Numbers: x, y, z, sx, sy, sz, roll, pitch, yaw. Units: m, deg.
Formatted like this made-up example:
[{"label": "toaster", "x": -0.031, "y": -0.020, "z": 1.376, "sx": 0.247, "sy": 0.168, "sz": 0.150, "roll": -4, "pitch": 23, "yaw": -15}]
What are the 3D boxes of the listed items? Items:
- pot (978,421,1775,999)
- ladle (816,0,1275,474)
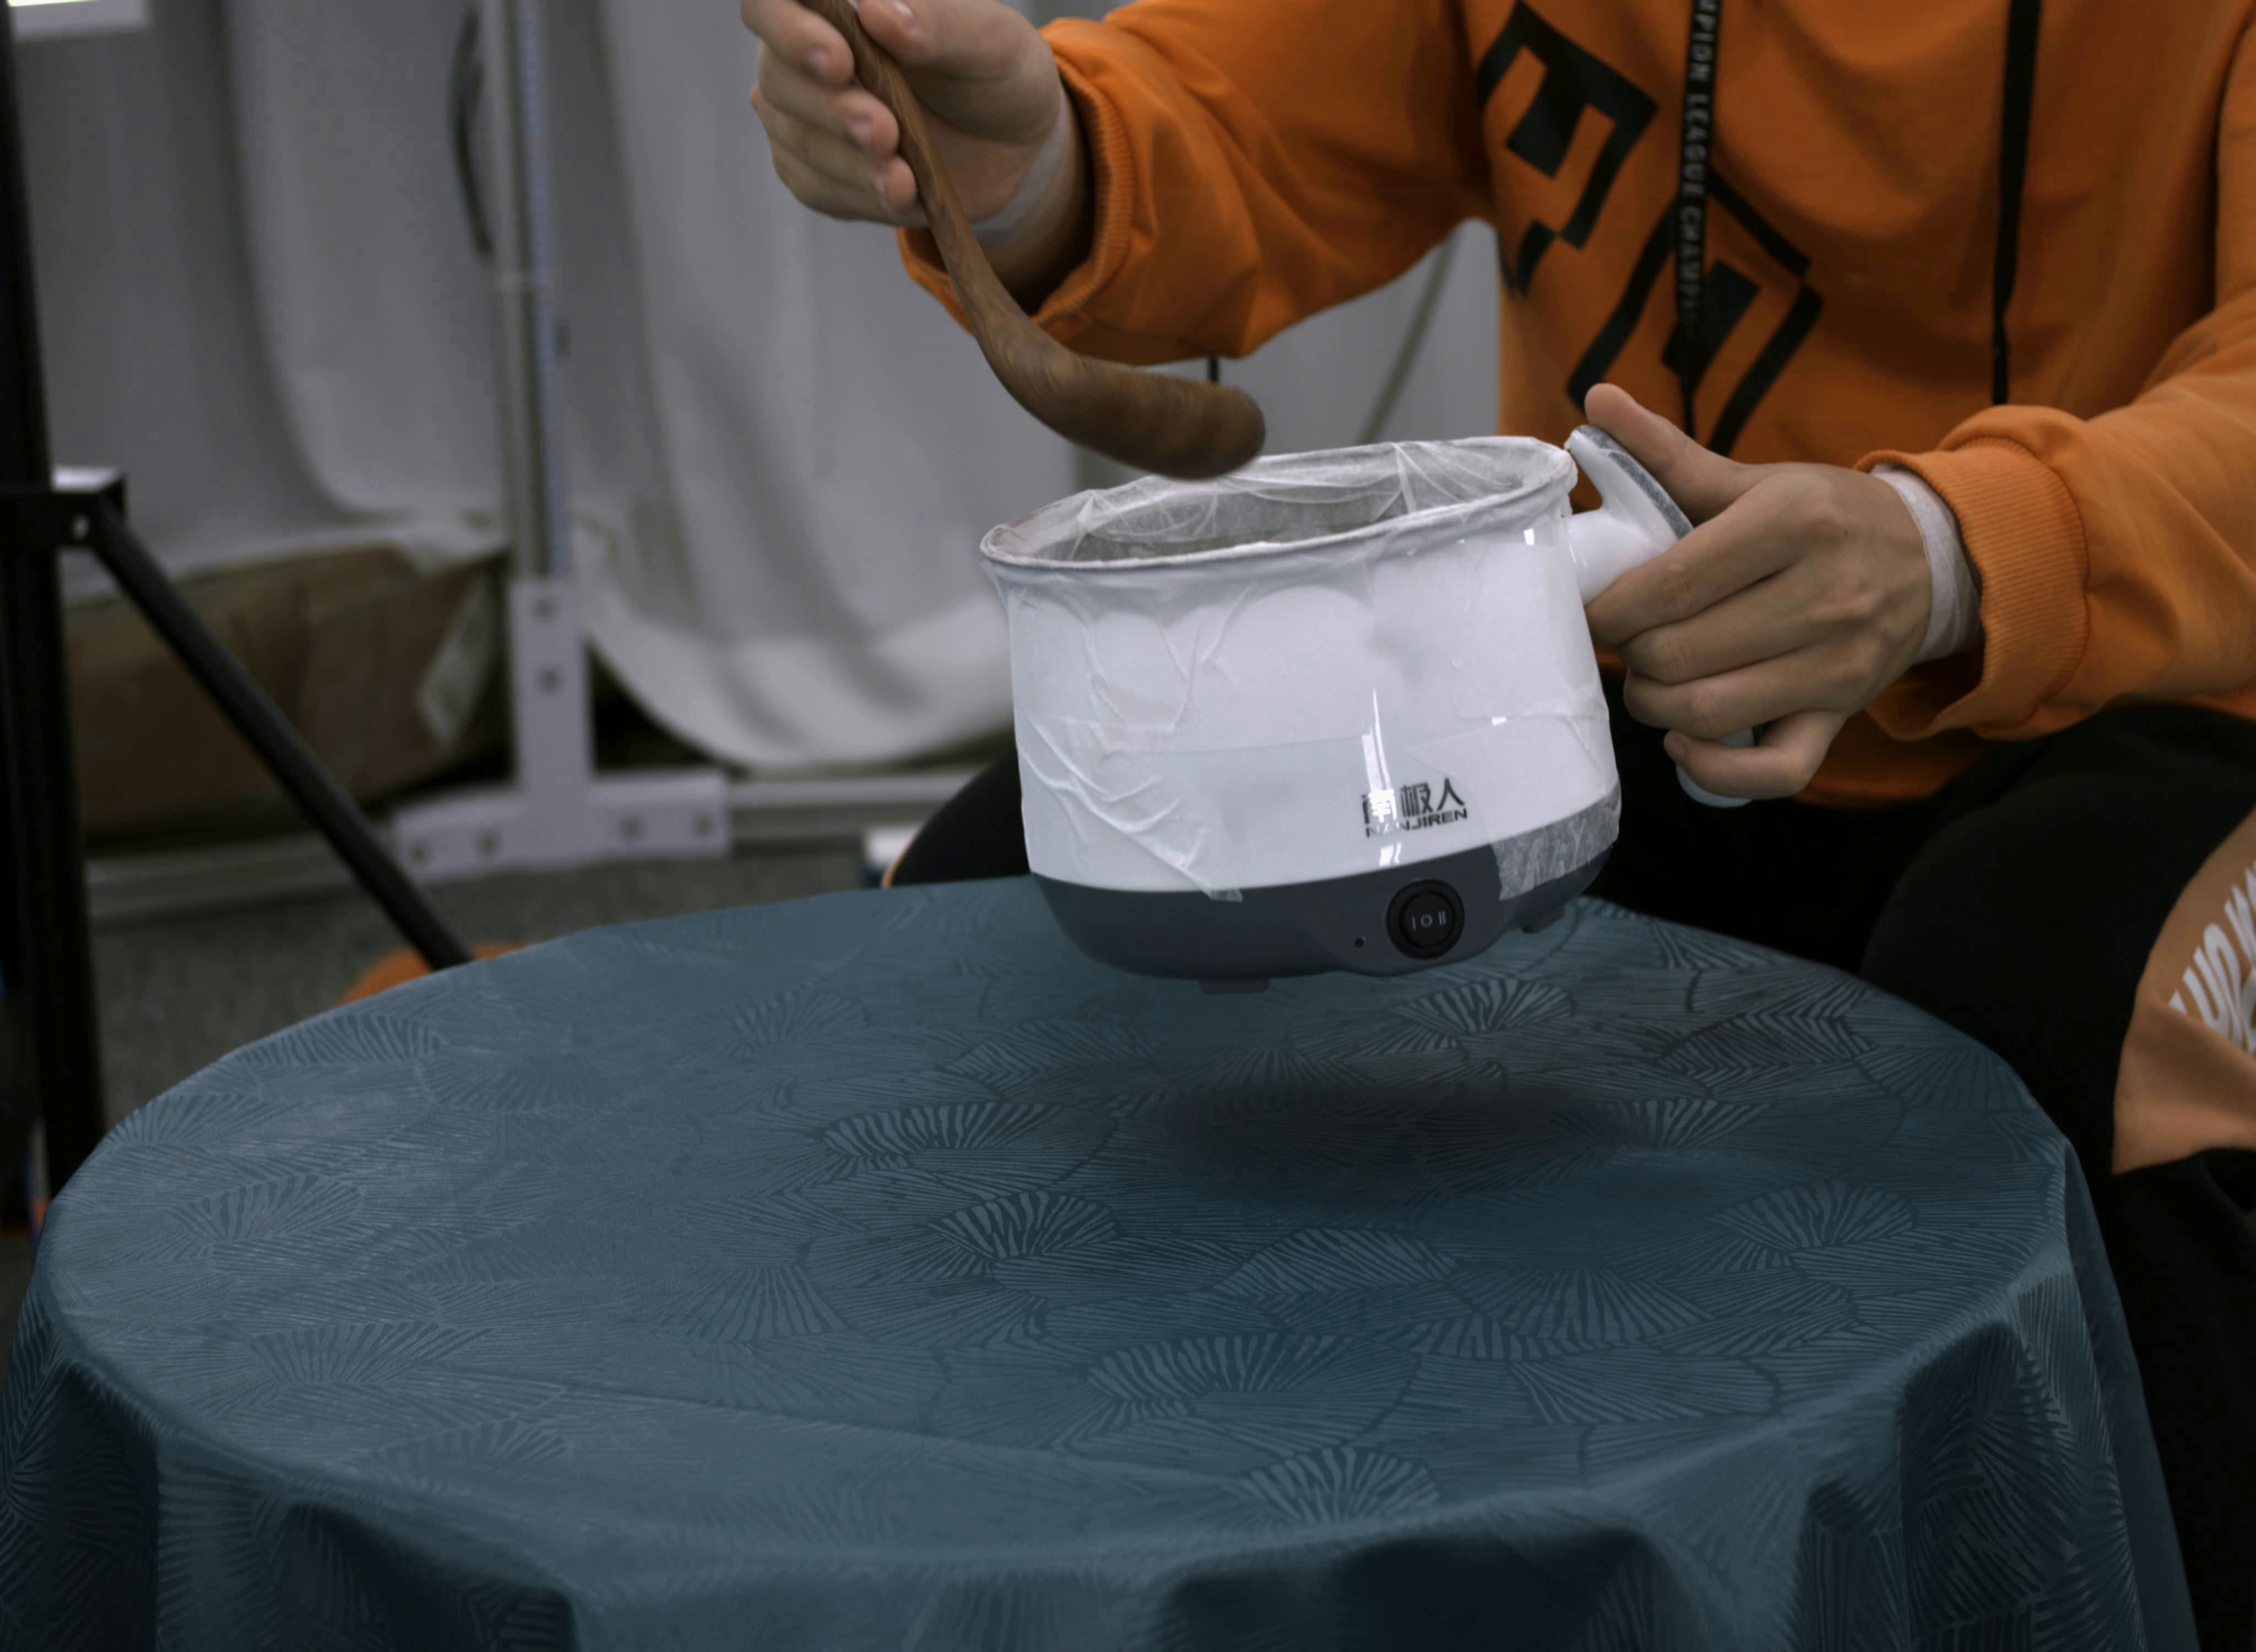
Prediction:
[{"label": "pot", "x": 0.078, "y": -0.040, "z": 1.581, "sx": 0.230, "sy": 0.136, "sz": 0.181, "roll": -12, "pitch": 13, "yaw": -15}, {"label": "ladle", "x": -0.049, "y": -0.205, "z": 1.573, "sx": 0.065, "sy": 0.263, "sz": 0.075, "roll": -35, "pitch": -16, "yaw": 6}]
